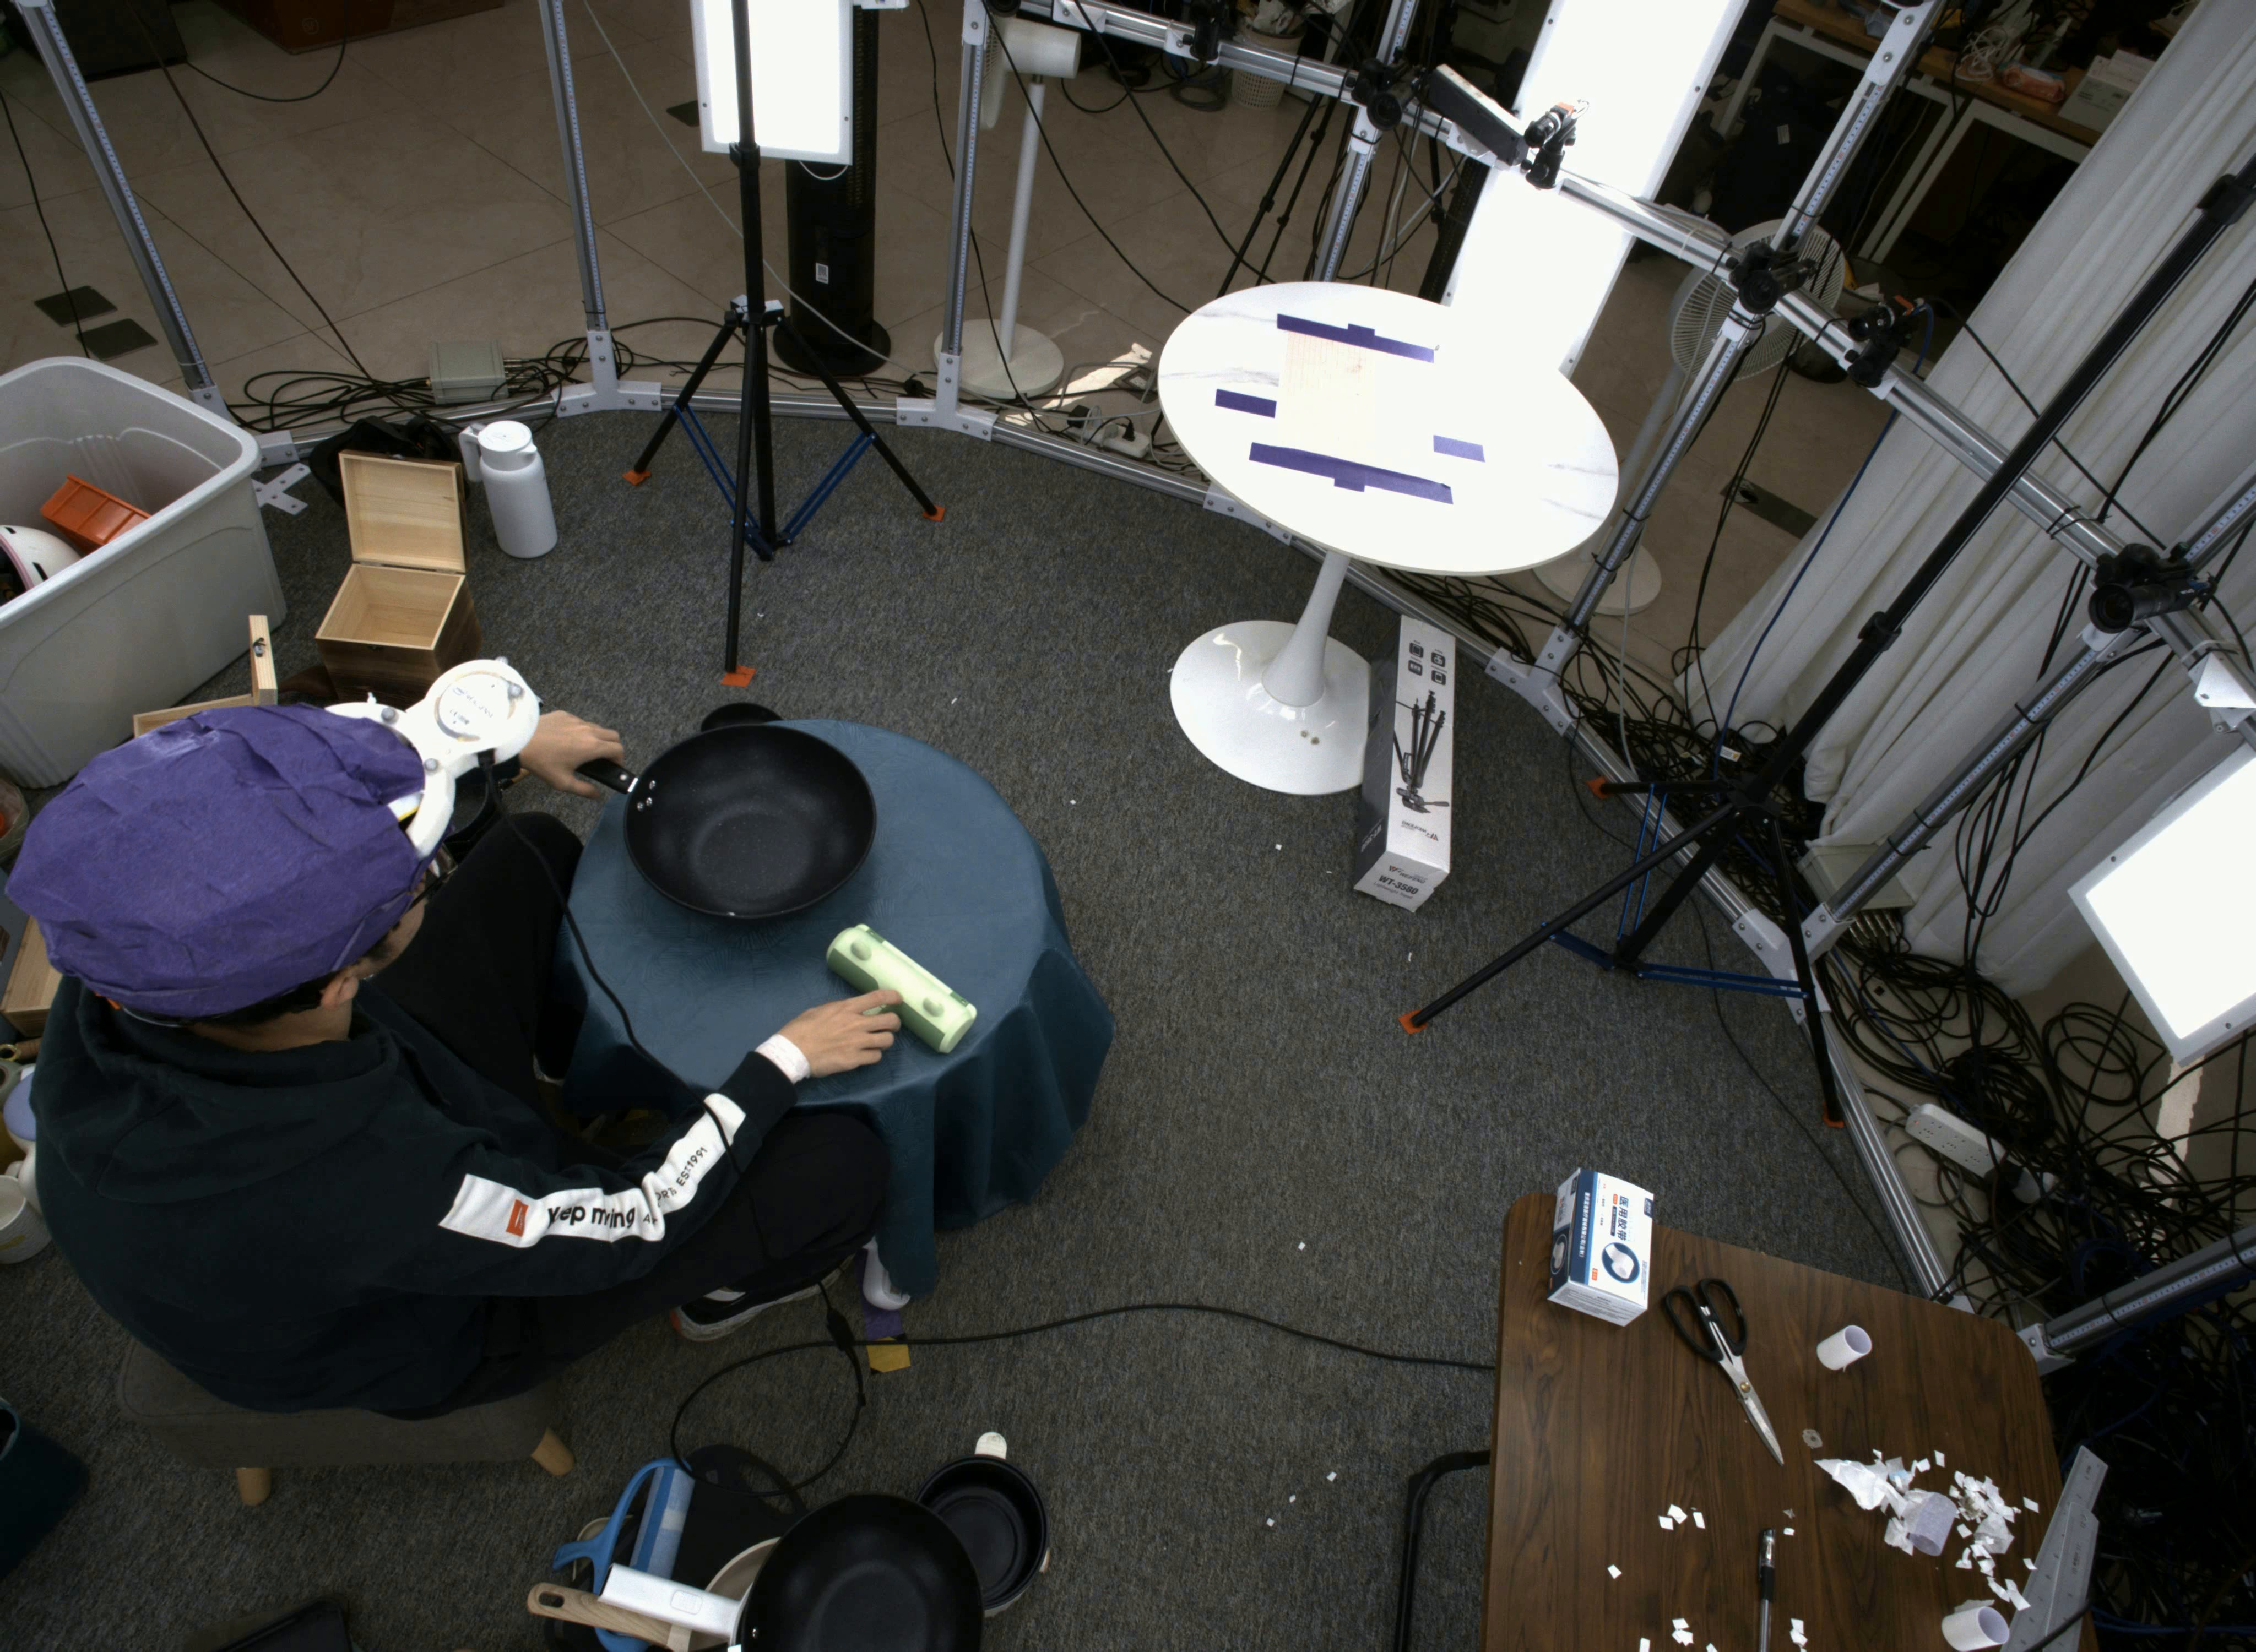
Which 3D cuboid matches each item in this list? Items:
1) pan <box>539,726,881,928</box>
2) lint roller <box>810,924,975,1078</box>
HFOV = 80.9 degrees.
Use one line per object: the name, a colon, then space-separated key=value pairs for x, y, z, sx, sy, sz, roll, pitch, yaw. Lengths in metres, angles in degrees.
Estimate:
pan: x=-0.550 y=-0.017 z=1.641 sx=0.474 sy=0.114 sz=0.306 roll=17 pitch=50 yaw=-3
lint roller: x=-0.310 y=0.220 z=1.549 sx=0.195 sy=0.084 sz=0.183 roll=35 pitch=48 yaw=12
